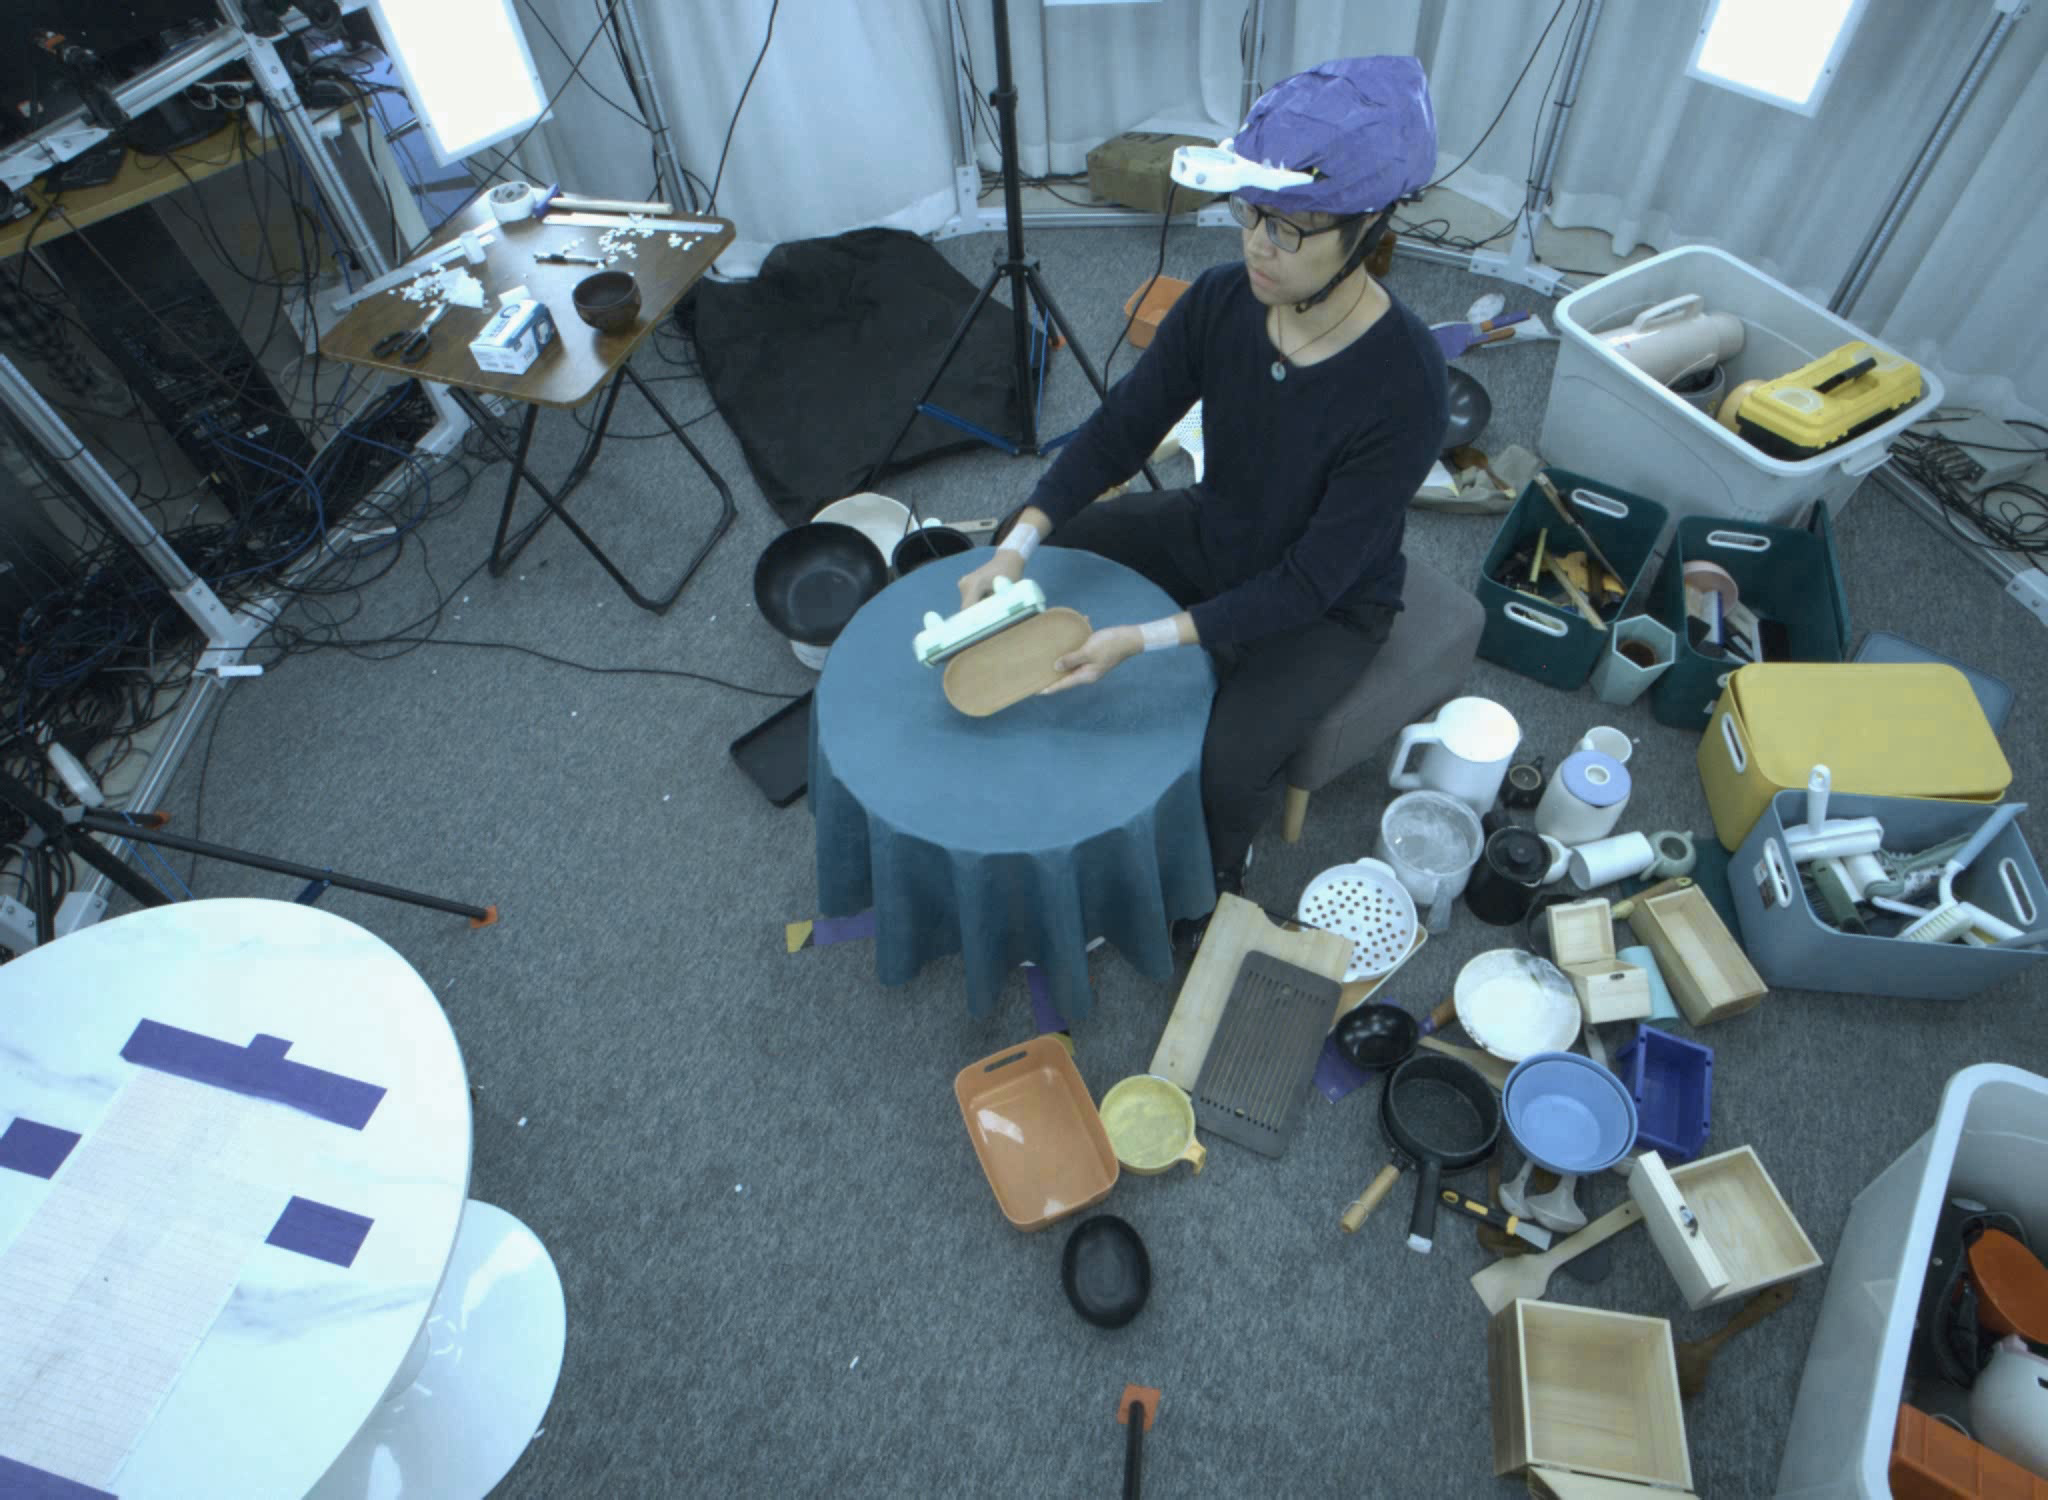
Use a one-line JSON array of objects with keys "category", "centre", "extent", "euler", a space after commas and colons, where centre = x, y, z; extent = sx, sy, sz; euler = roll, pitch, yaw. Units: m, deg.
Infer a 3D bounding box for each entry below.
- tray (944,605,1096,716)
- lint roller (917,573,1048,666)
[{"category": "tray", "centre": [-0.007, -0.128, 1.760], "extent": [0.230, 0.103, 0.020], "euler": [-26, 17, 6]}, {"category": "lint roller", "centre": [-0.066, -0.222, 1.784], "extent": [0.197, 0.084, 0.181], "euler": [-25, 37, 15]}]
